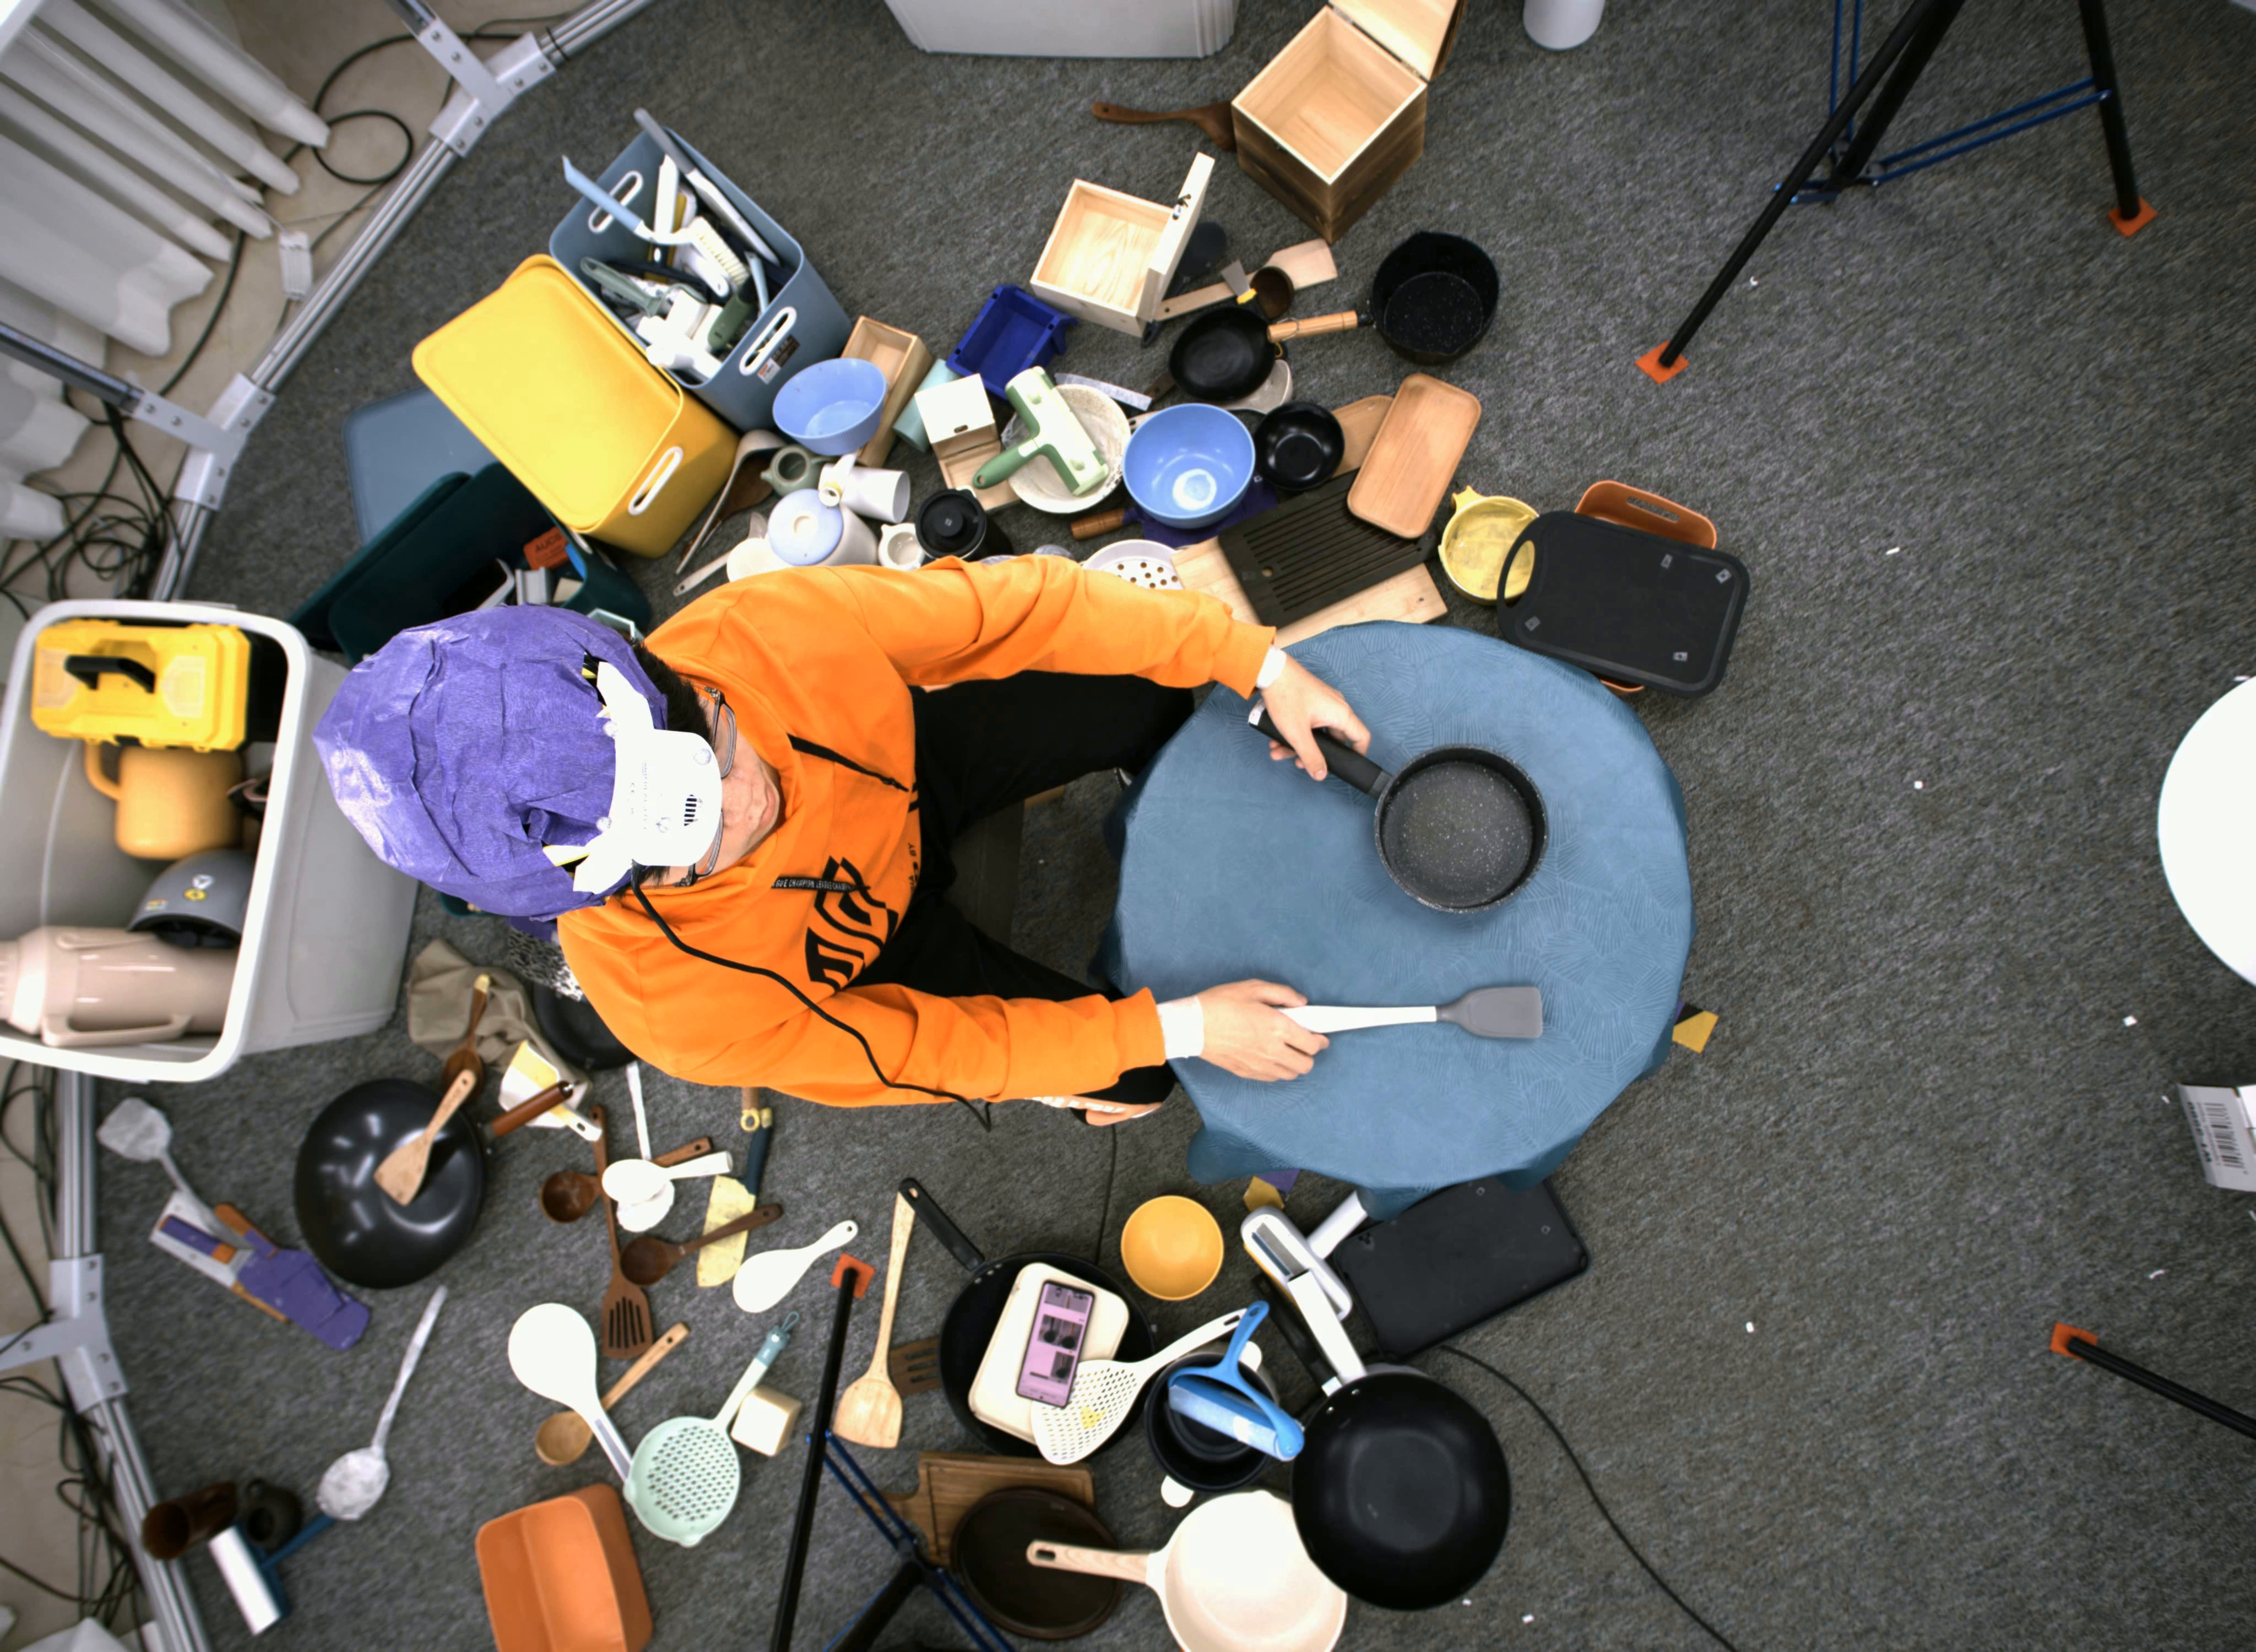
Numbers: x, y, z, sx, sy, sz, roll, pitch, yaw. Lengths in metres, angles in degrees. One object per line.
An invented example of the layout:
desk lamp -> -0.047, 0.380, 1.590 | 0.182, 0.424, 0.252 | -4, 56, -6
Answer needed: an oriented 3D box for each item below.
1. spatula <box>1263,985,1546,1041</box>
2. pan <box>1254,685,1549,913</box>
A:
spatula -> 0.285, 0.196, 1.434 | 0.289, 0.032, 0.058 | -4, 82, 11
pan -> 0.274, -0.039, 1.422 | 0.328, 0.086, 0.172 | 34, 92, 9
